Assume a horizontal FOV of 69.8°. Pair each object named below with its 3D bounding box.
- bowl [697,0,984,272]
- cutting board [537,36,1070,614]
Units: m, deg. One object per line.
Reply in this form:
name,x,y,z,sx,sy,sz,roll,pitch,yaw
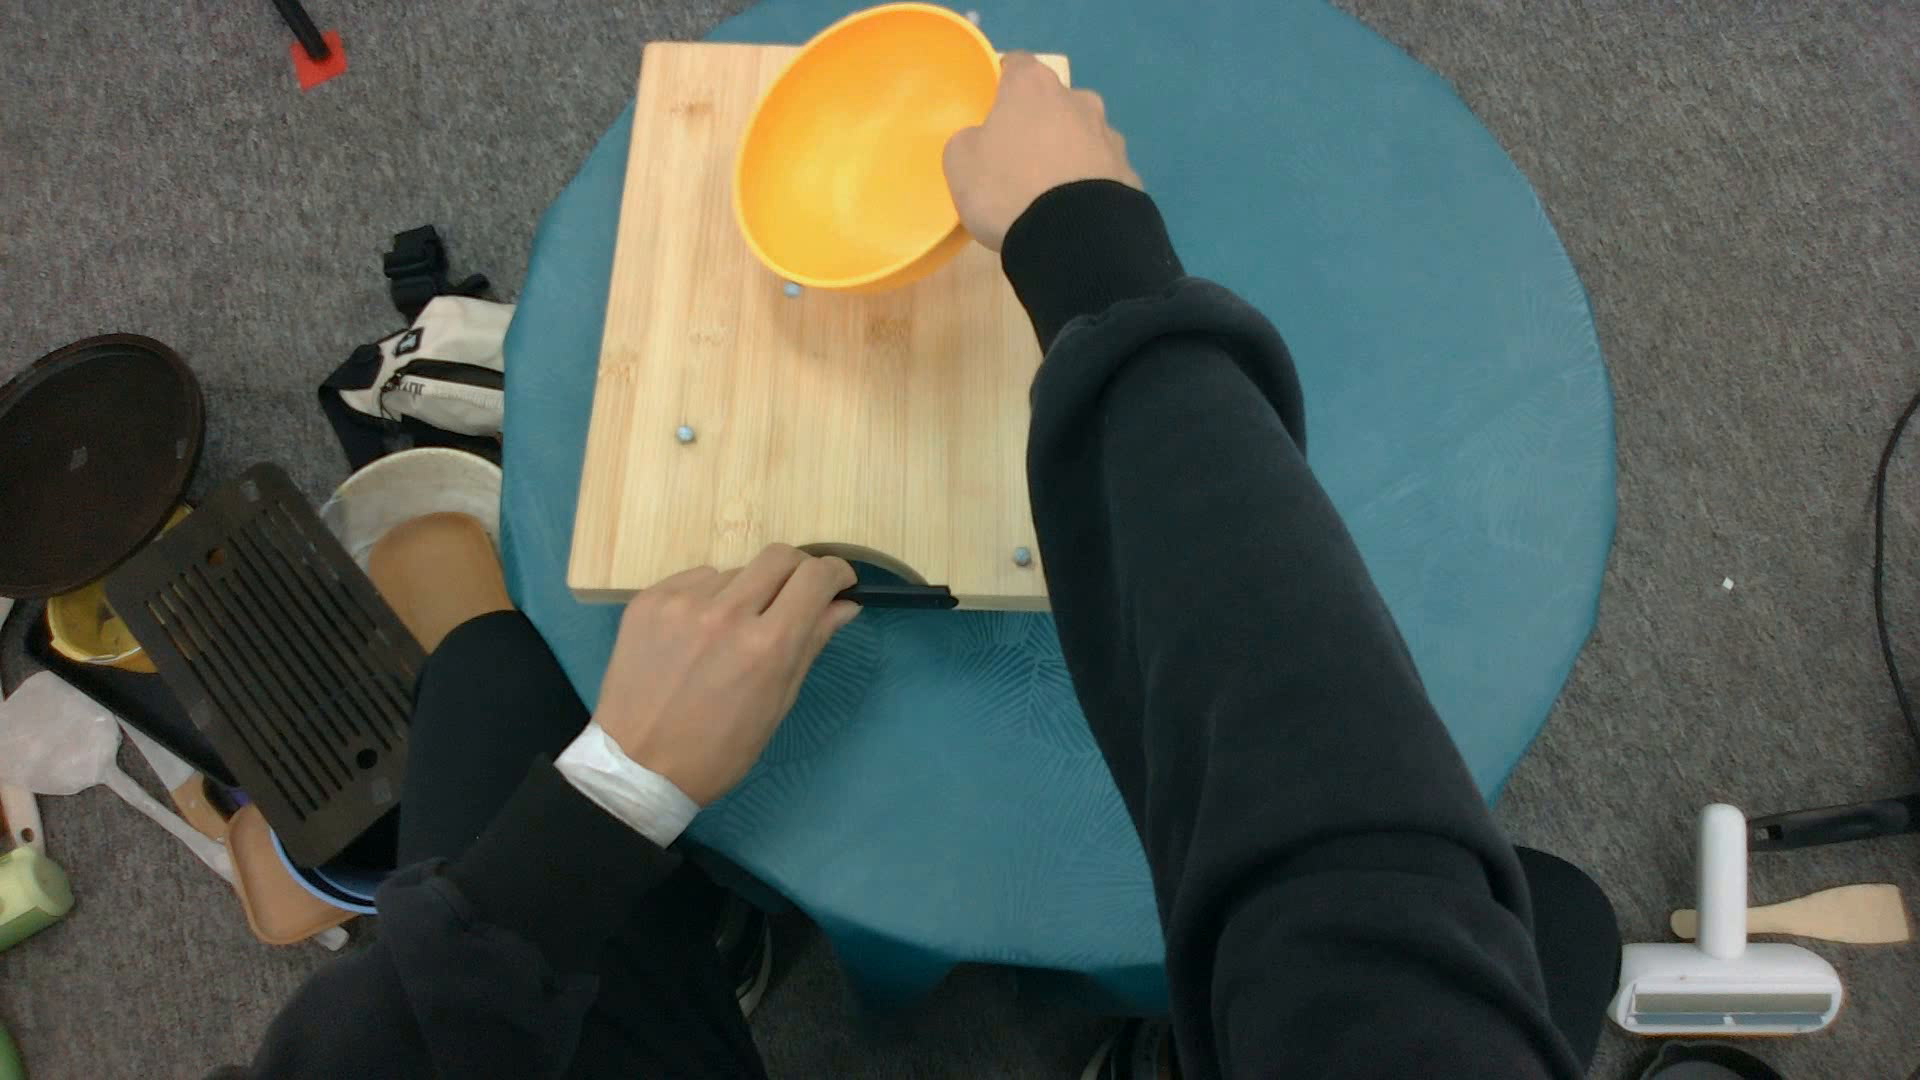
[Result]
bowl,-0.049,-0.185,0.661,0.145,0.060,0.145,-6,71,18
cutting board,-0.070,-0.124,0.711,0.251,0.023,0.350,0,63,-3
